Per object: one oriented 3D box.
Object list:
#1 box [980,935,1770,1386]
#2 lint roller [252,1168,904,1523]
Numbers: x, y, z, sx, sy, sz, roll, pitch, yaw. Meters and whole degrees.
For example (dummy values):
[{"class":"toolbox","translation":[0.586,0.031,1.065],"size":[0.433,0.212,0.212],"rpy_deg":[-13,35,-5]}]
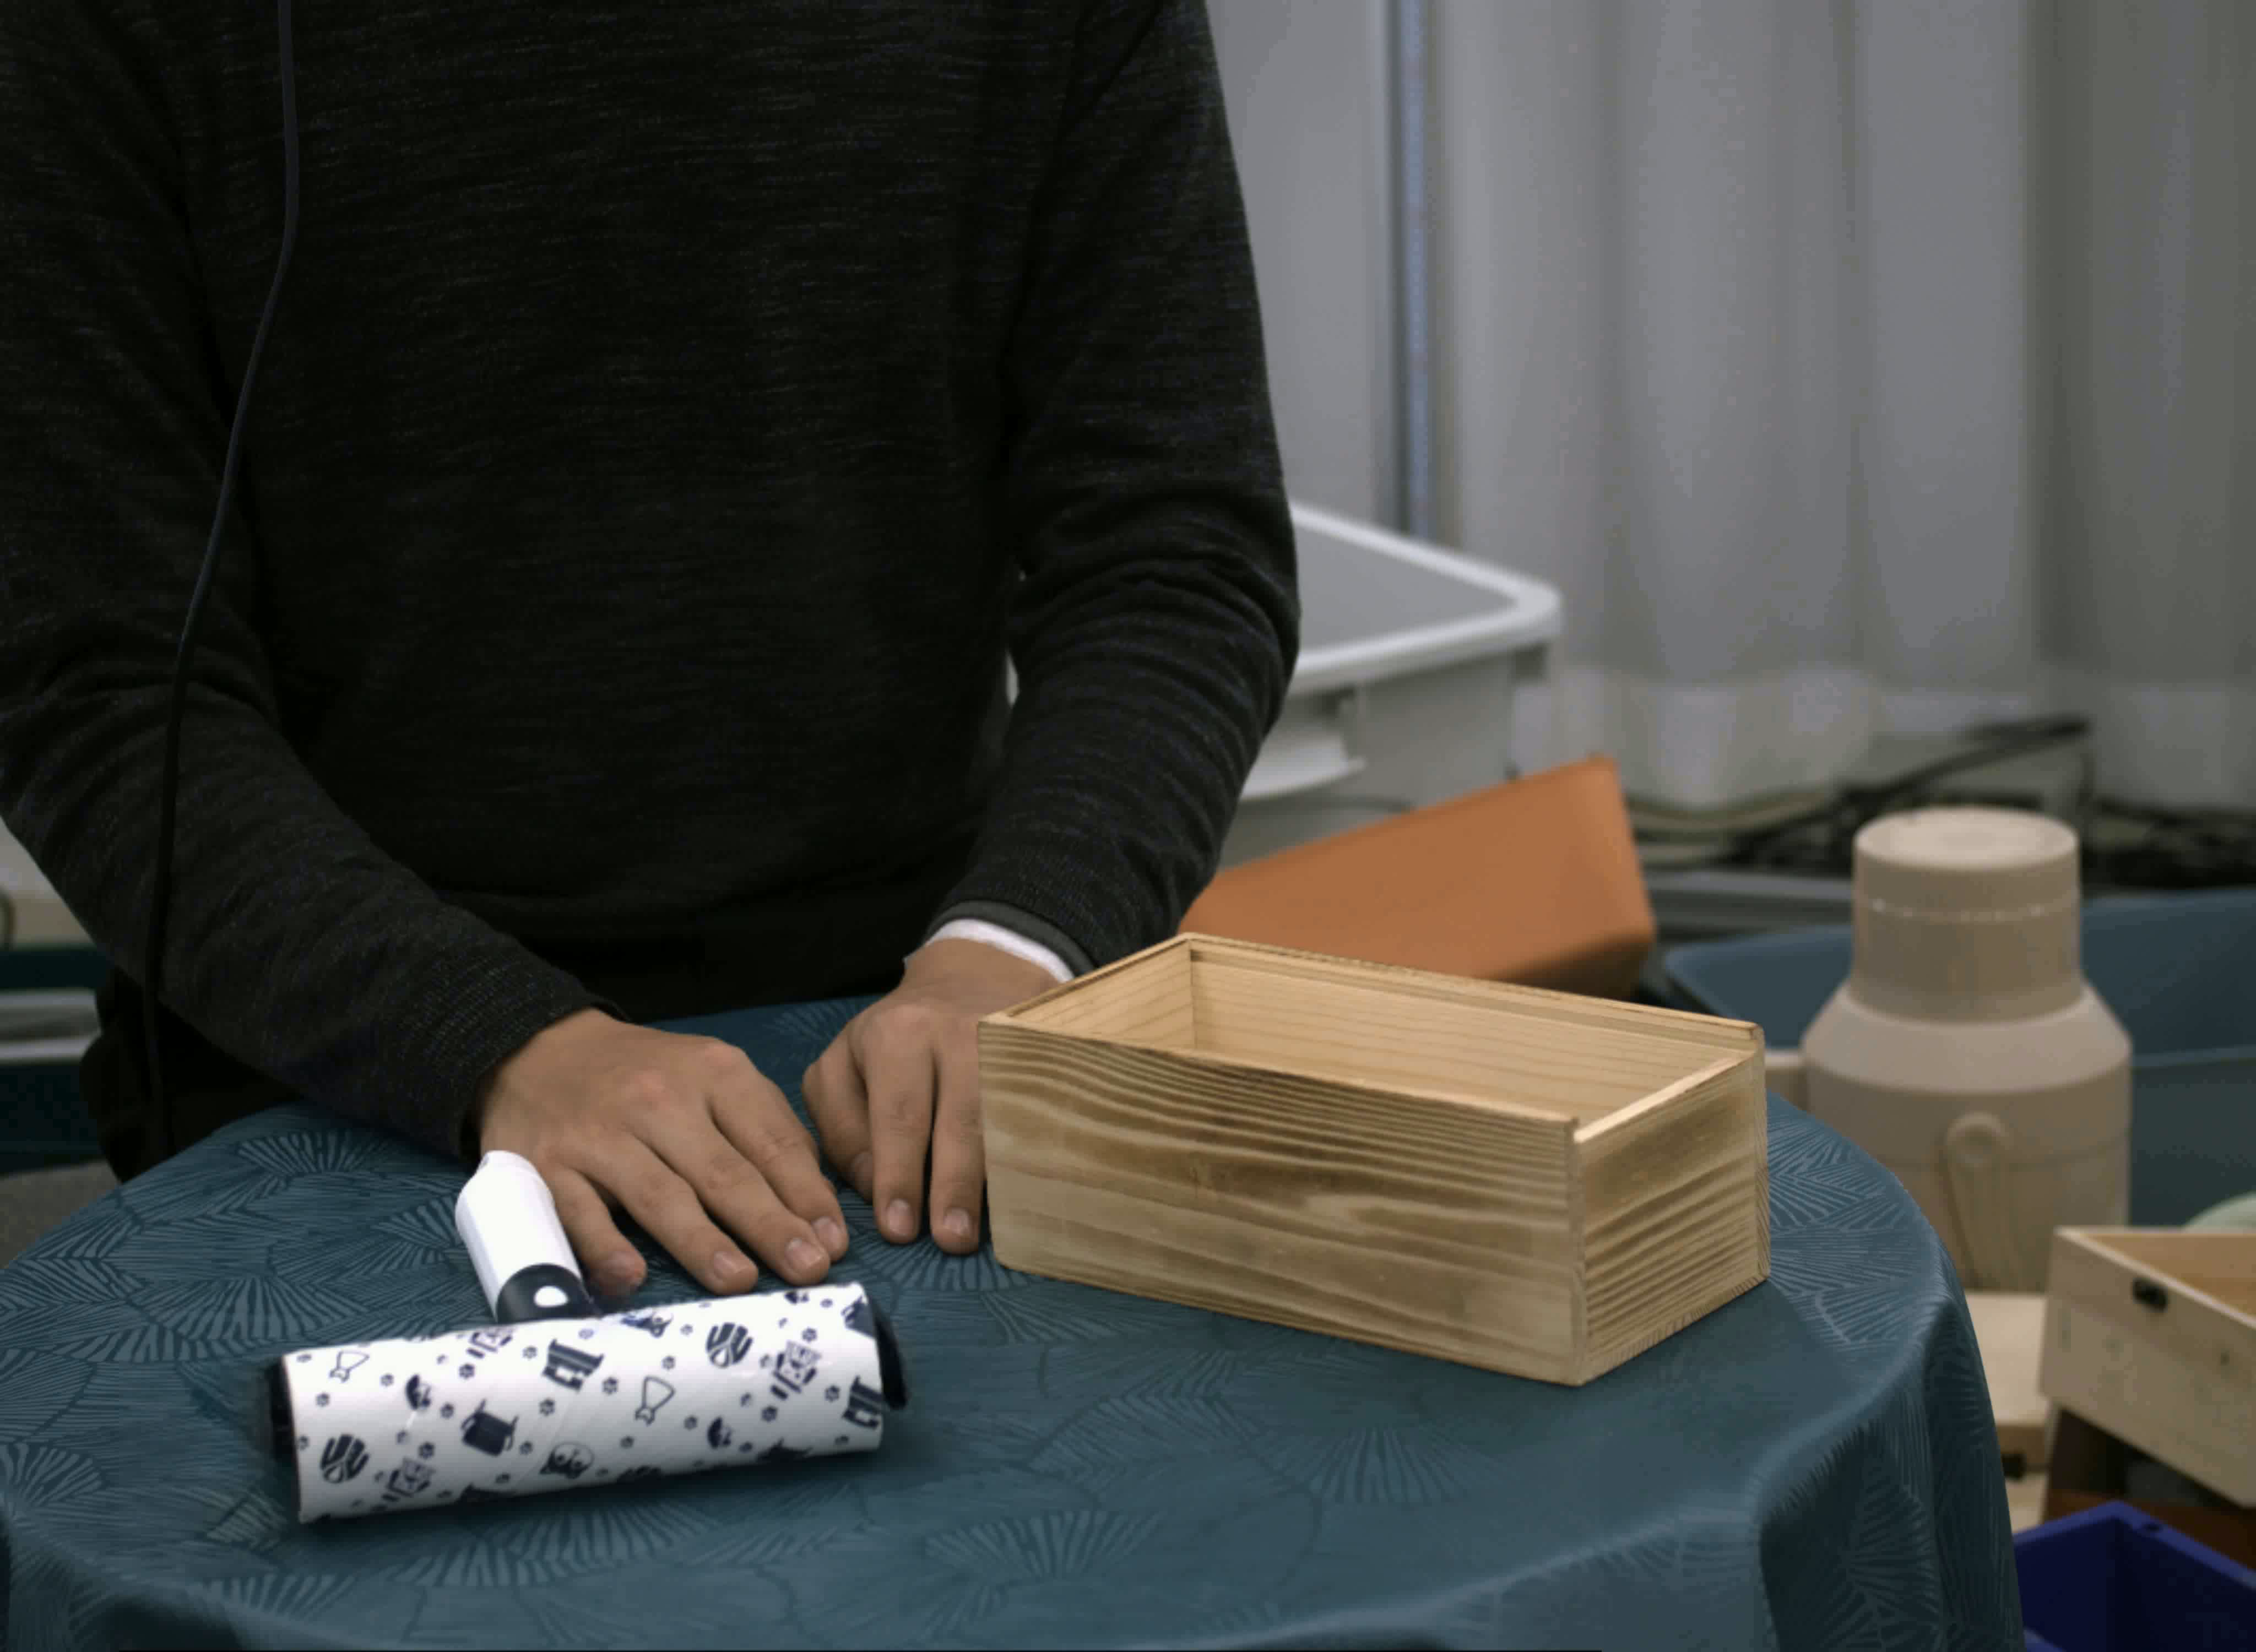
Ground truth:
[{"class":"box","translation":[0.072,0.096,1.618],"size":[0.212,0.080,0.107],"rpy_deg":[8,18,37]},{"class":"lint roller","translation":[-0.173,0.135,1.587],"size":[0.175,0.050,0.249],"rpy_deg":[-7,14,-12]}]
